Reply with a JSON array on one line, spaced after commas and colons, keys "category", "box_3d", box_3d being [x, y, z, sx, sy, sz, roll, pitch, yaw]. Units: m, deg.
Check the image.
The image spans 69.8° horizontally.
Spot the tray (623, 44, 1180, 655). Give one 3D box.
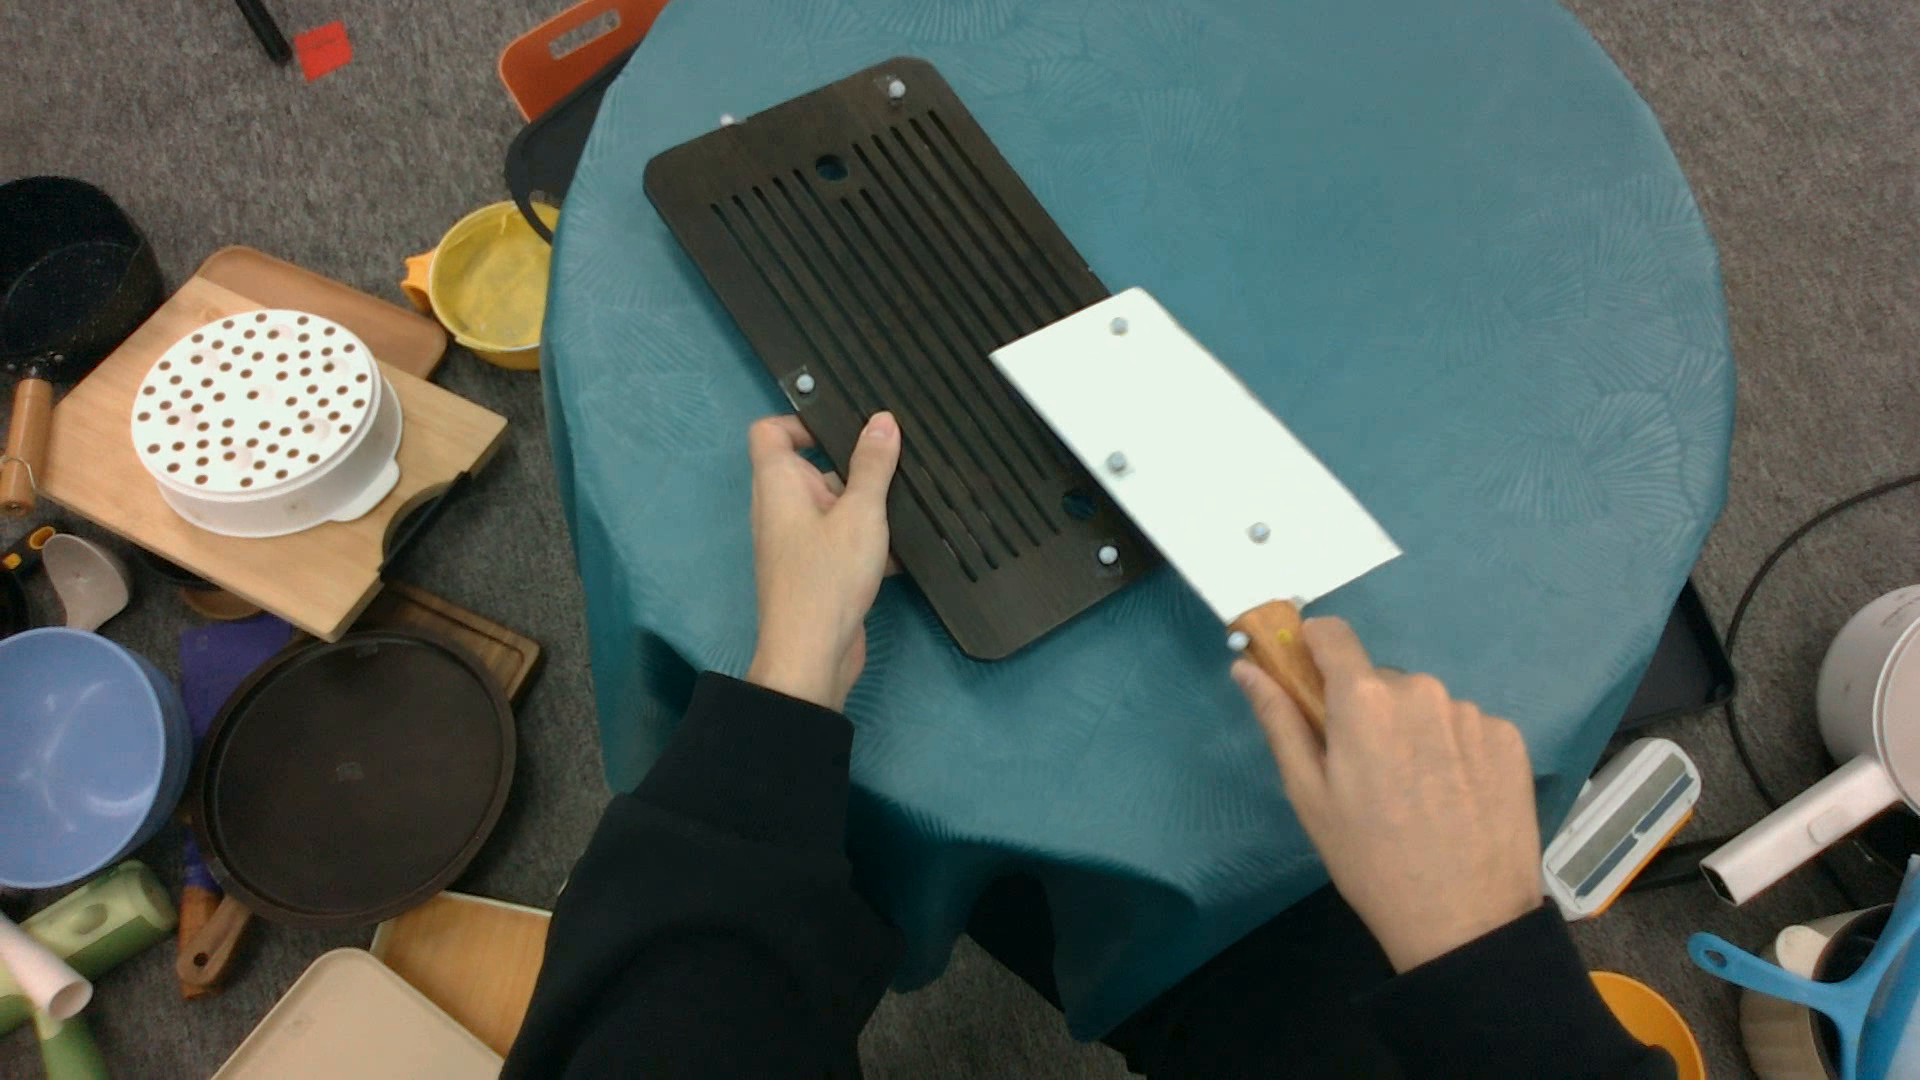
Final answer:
[{"category": "tray", "box_3d": [-0.016, -0.103, 0.662, 0.170, 0.018, 0.306, -29, 74, -20]}]

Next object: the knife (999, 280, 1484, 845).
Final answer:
[{"category": "knife", "box_3d": [0.131, -0.011, 0.599, 0.093, 0.021, 0.306, -25, 59, -19]}]
